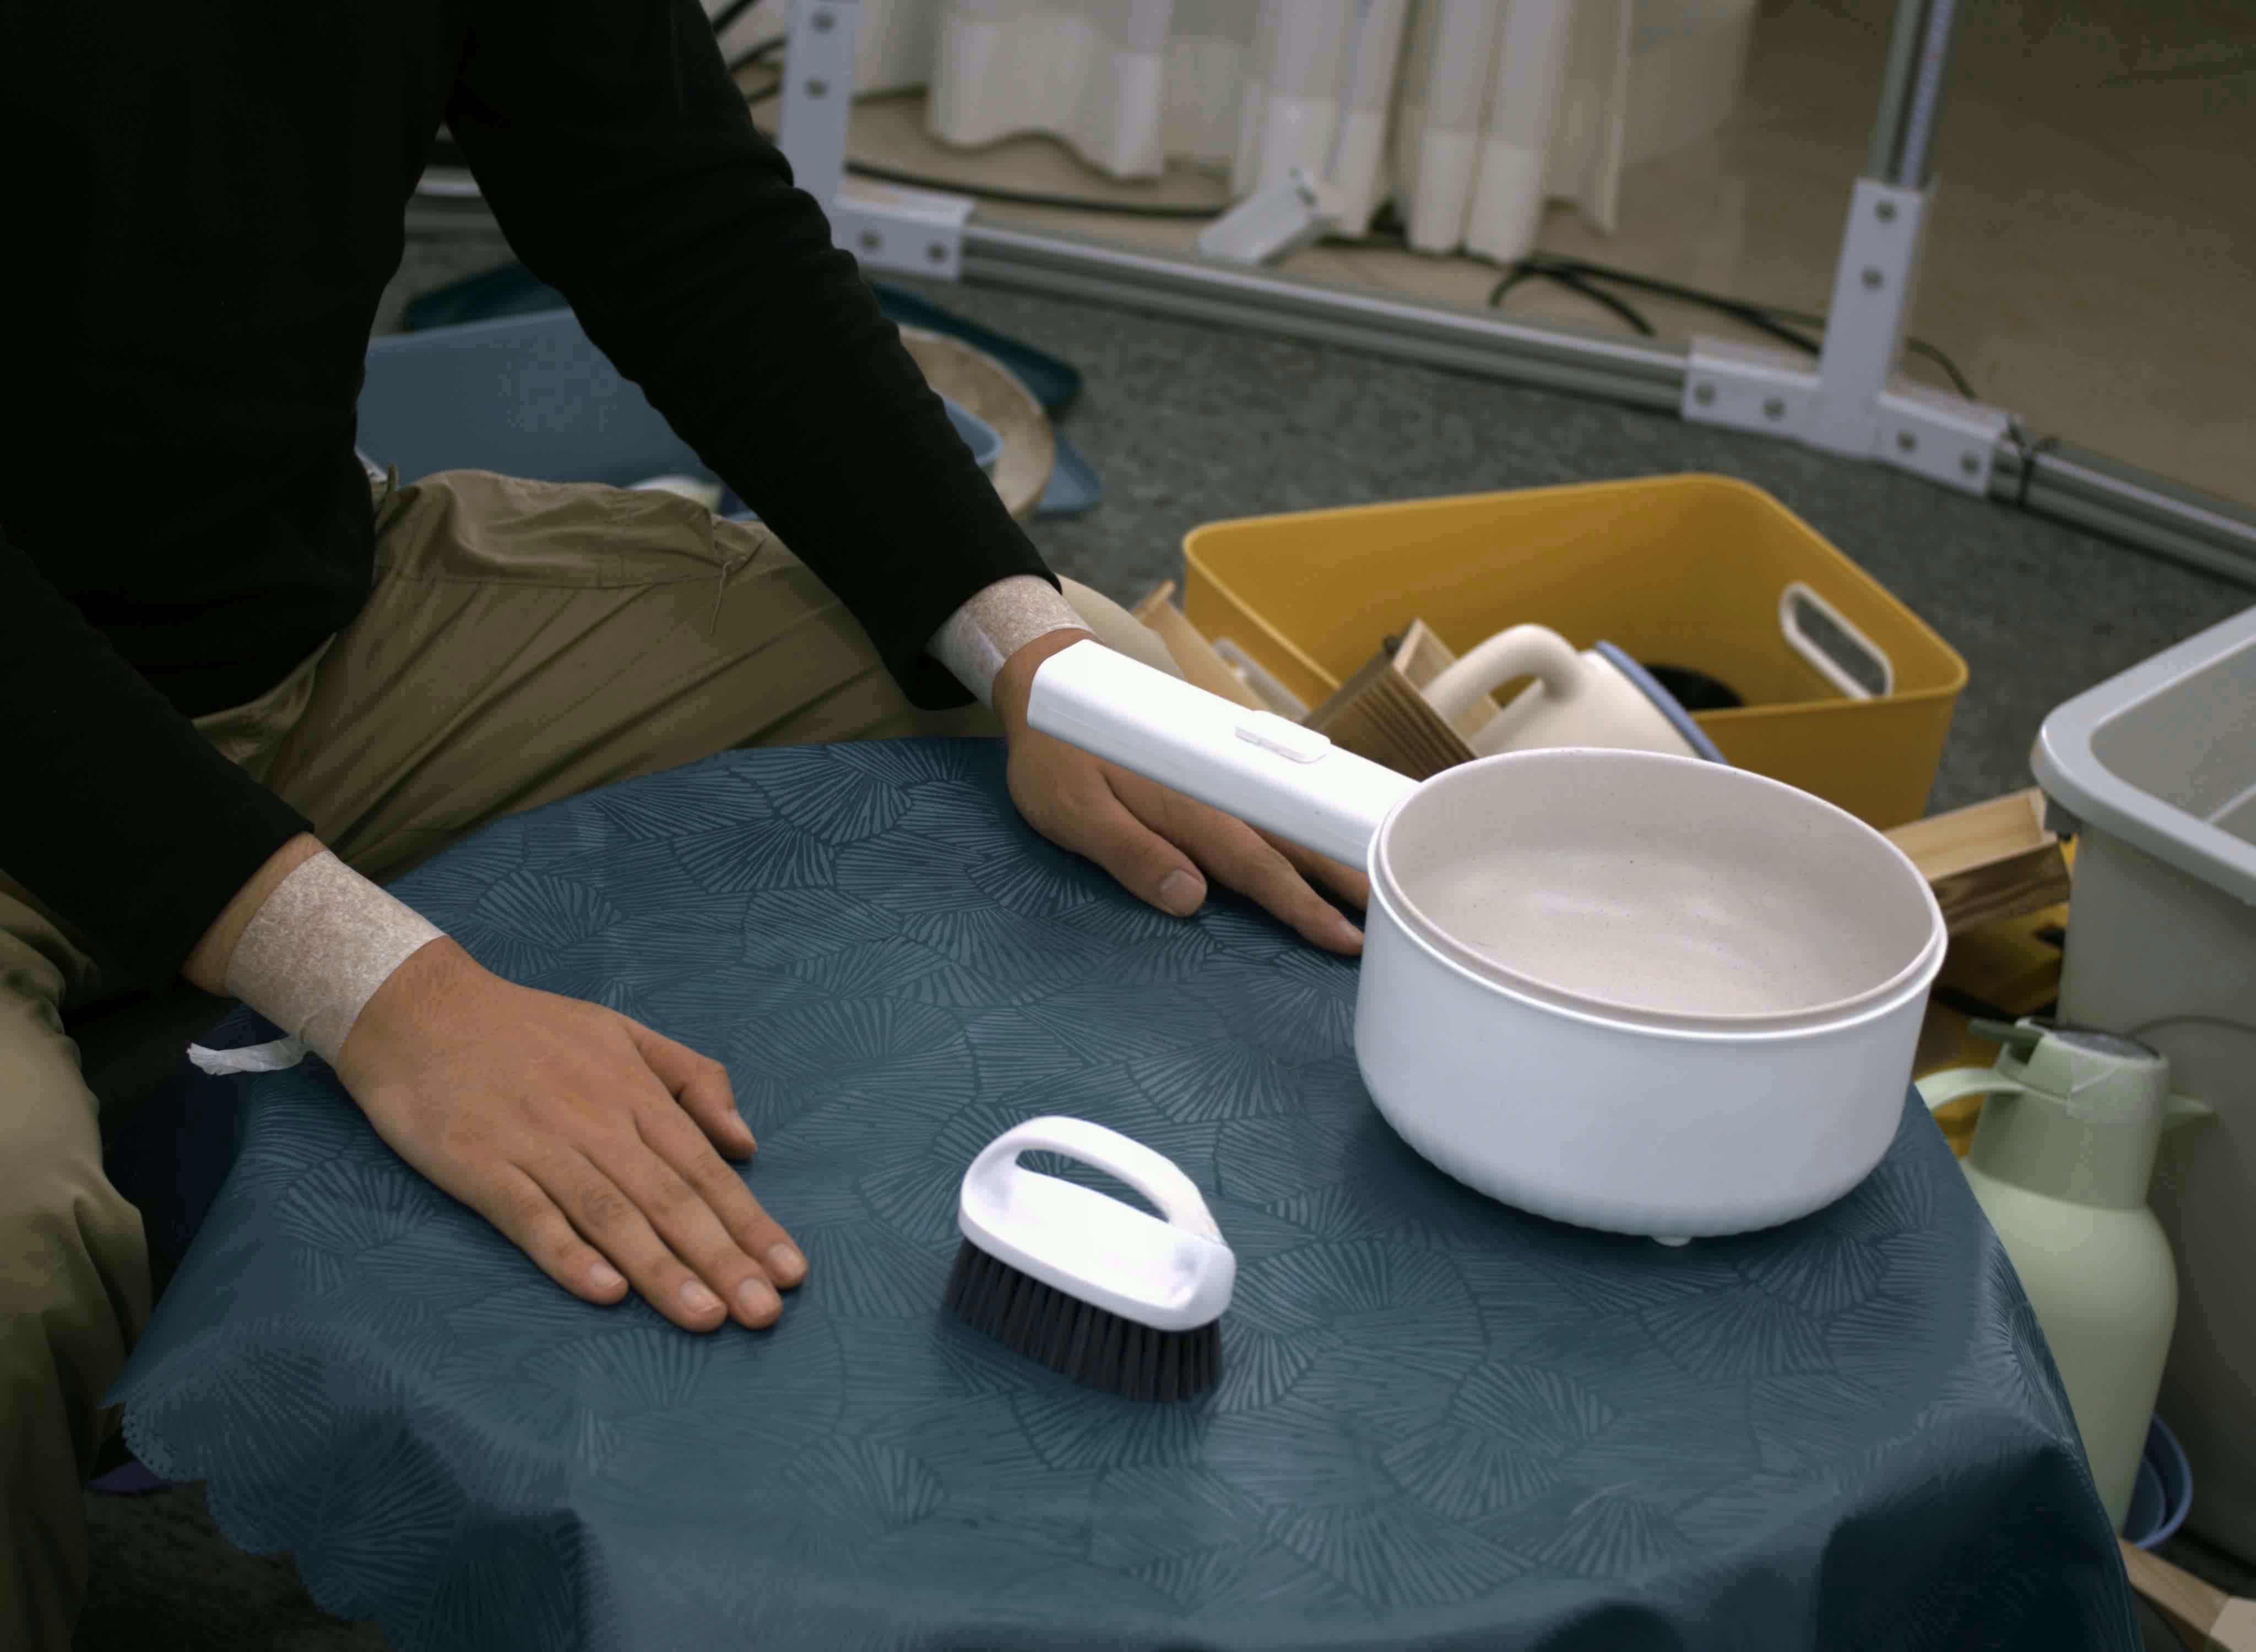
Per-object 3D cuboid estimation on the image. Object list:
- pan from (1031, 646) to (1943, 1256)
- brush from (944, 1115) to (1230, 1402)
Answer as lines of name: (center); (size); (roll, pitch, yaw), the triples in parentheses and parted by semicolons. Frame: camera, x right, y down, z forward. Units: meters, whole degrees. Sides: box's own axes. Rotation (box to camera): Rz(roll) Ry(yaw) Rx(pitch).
pan: (0.114, 0.039, 1.891); (0.357, 0.102, 0.200); (22, 33, 29)
brush: (-0.012, 0.132, 1.703); (0.100, 0.072, 0.050); (23, 31, 30)
